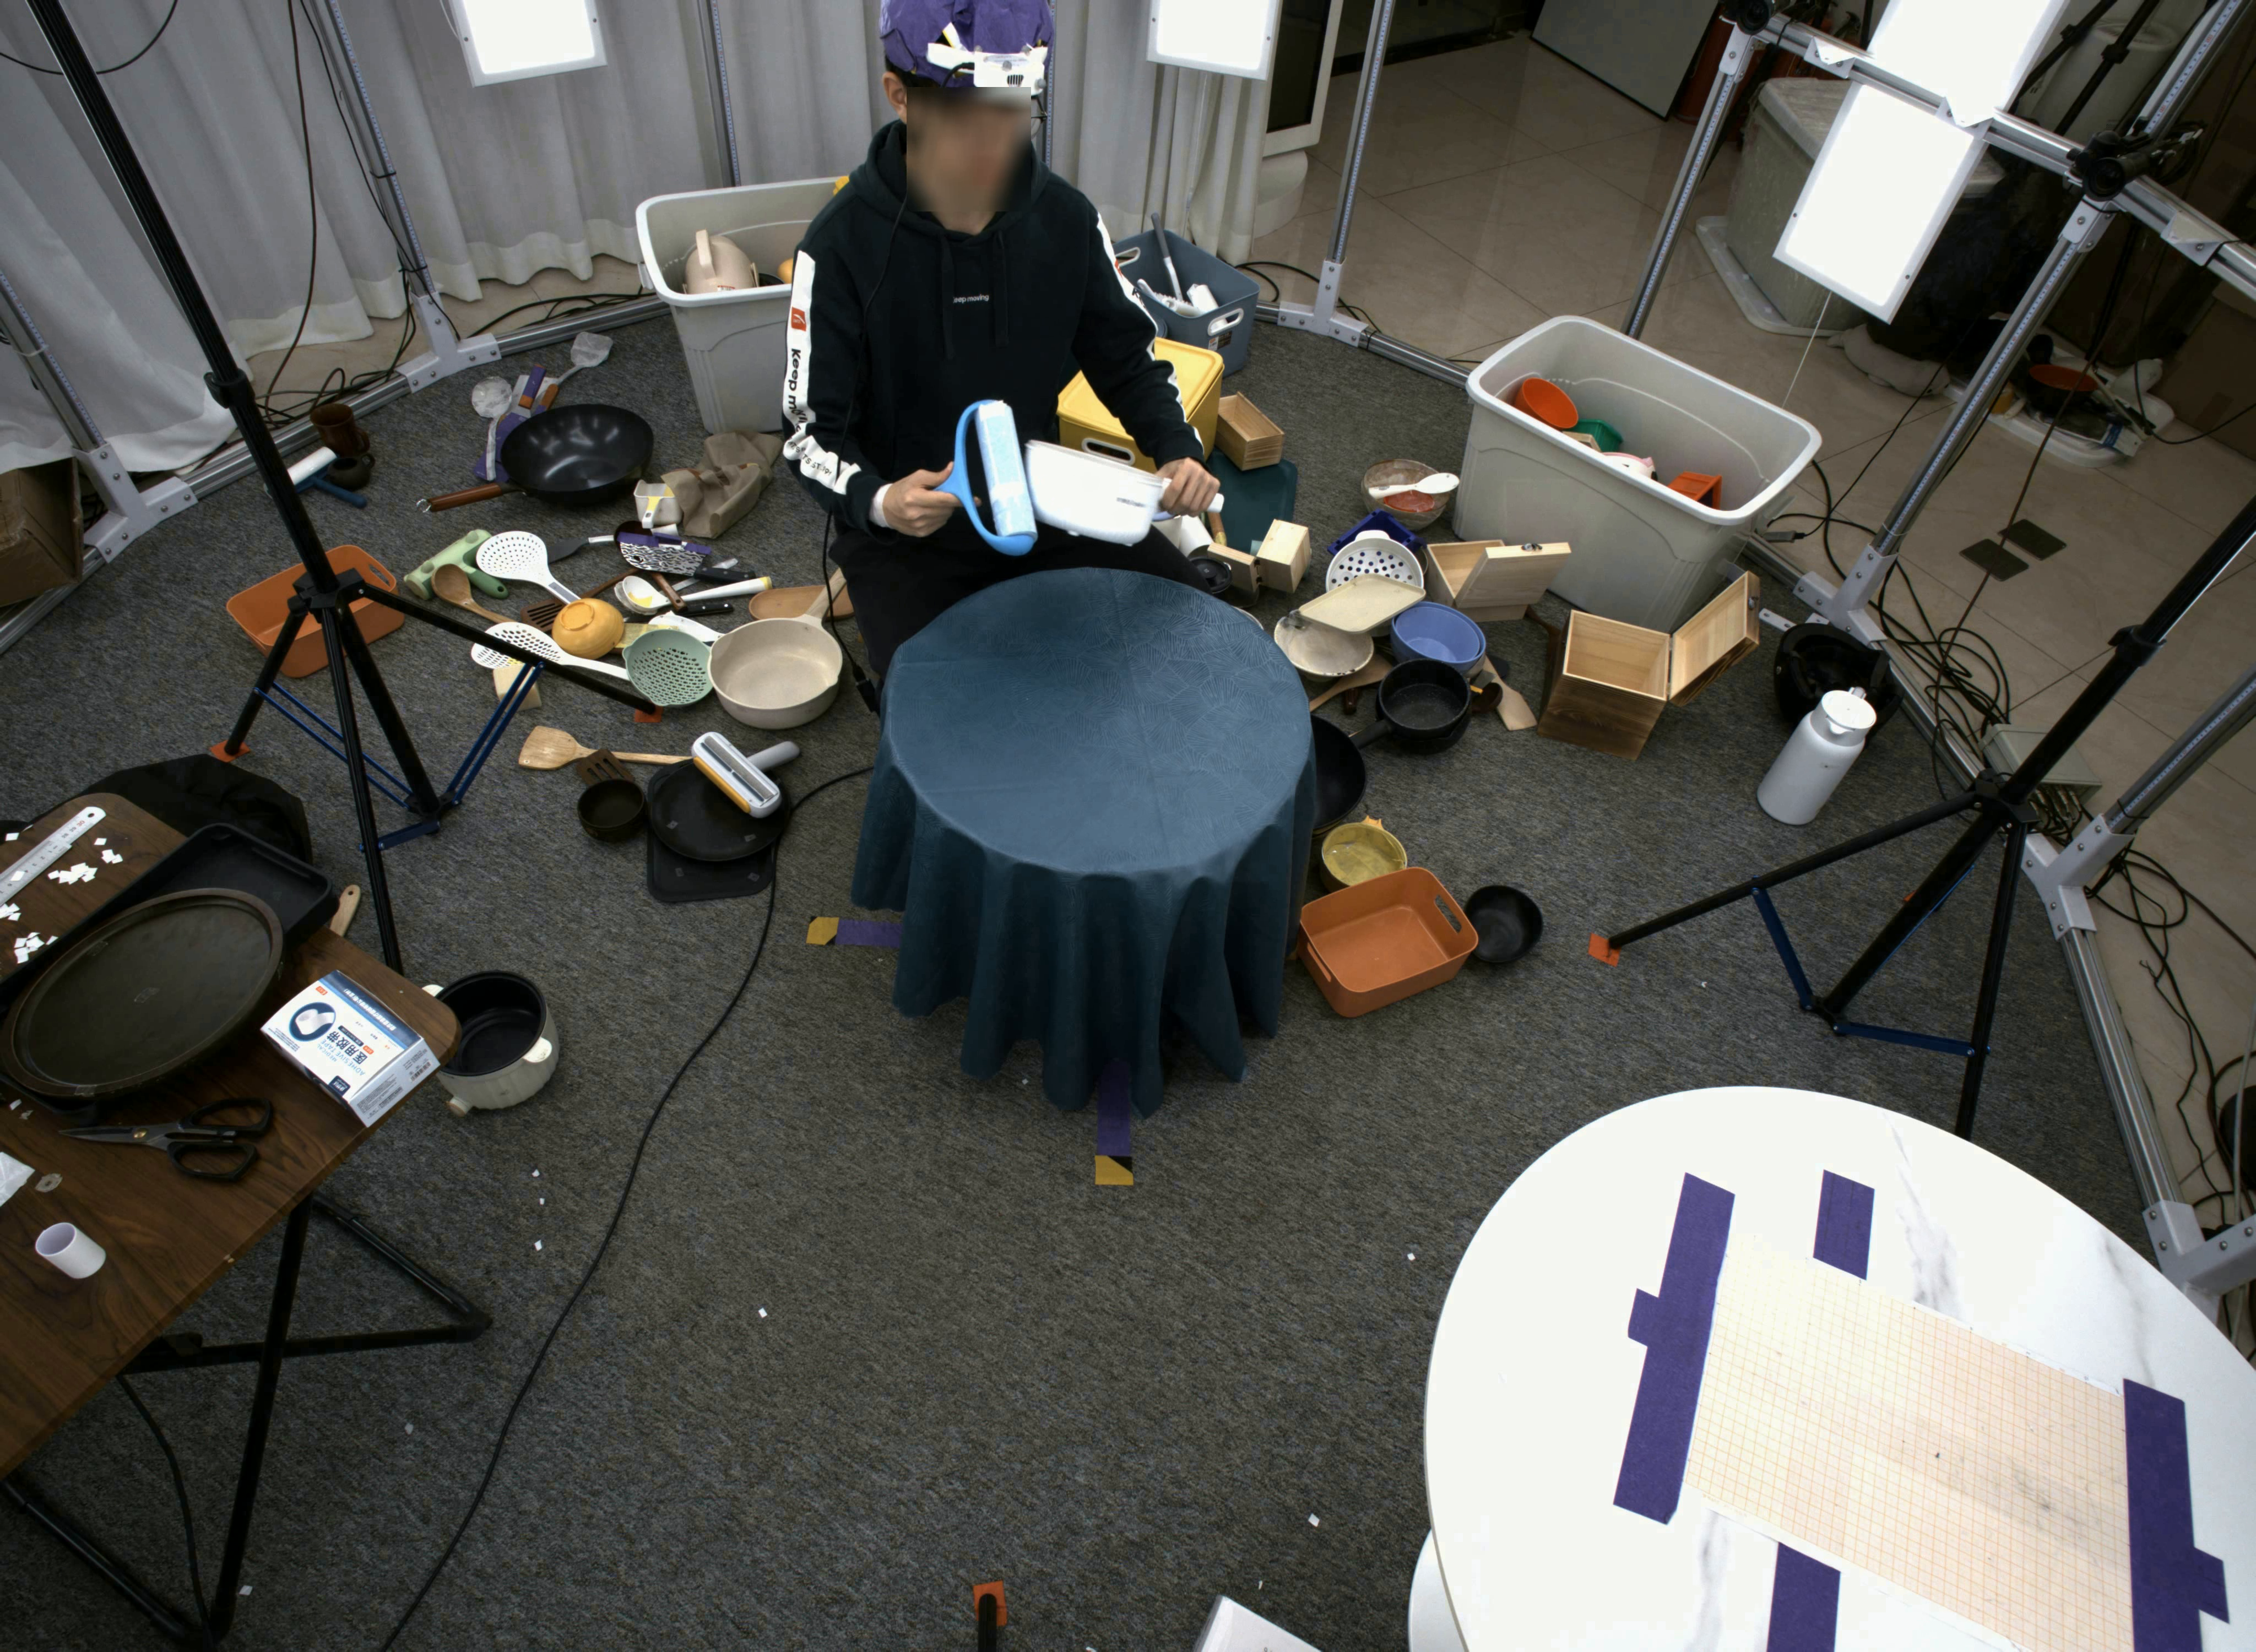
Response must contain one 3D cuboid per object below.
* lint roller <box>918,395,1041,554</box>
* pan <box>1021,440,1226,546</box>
[{"bbox_3d":[-0.217,-0.454,1.752,0.180,0.067,0.231,-19,76,16],"label":"lint roller"},{"bbox_3d":[-0.004,-0.463,1.858,0.353,0.101,0.204,0,22,-43],"label":"pan"}]
